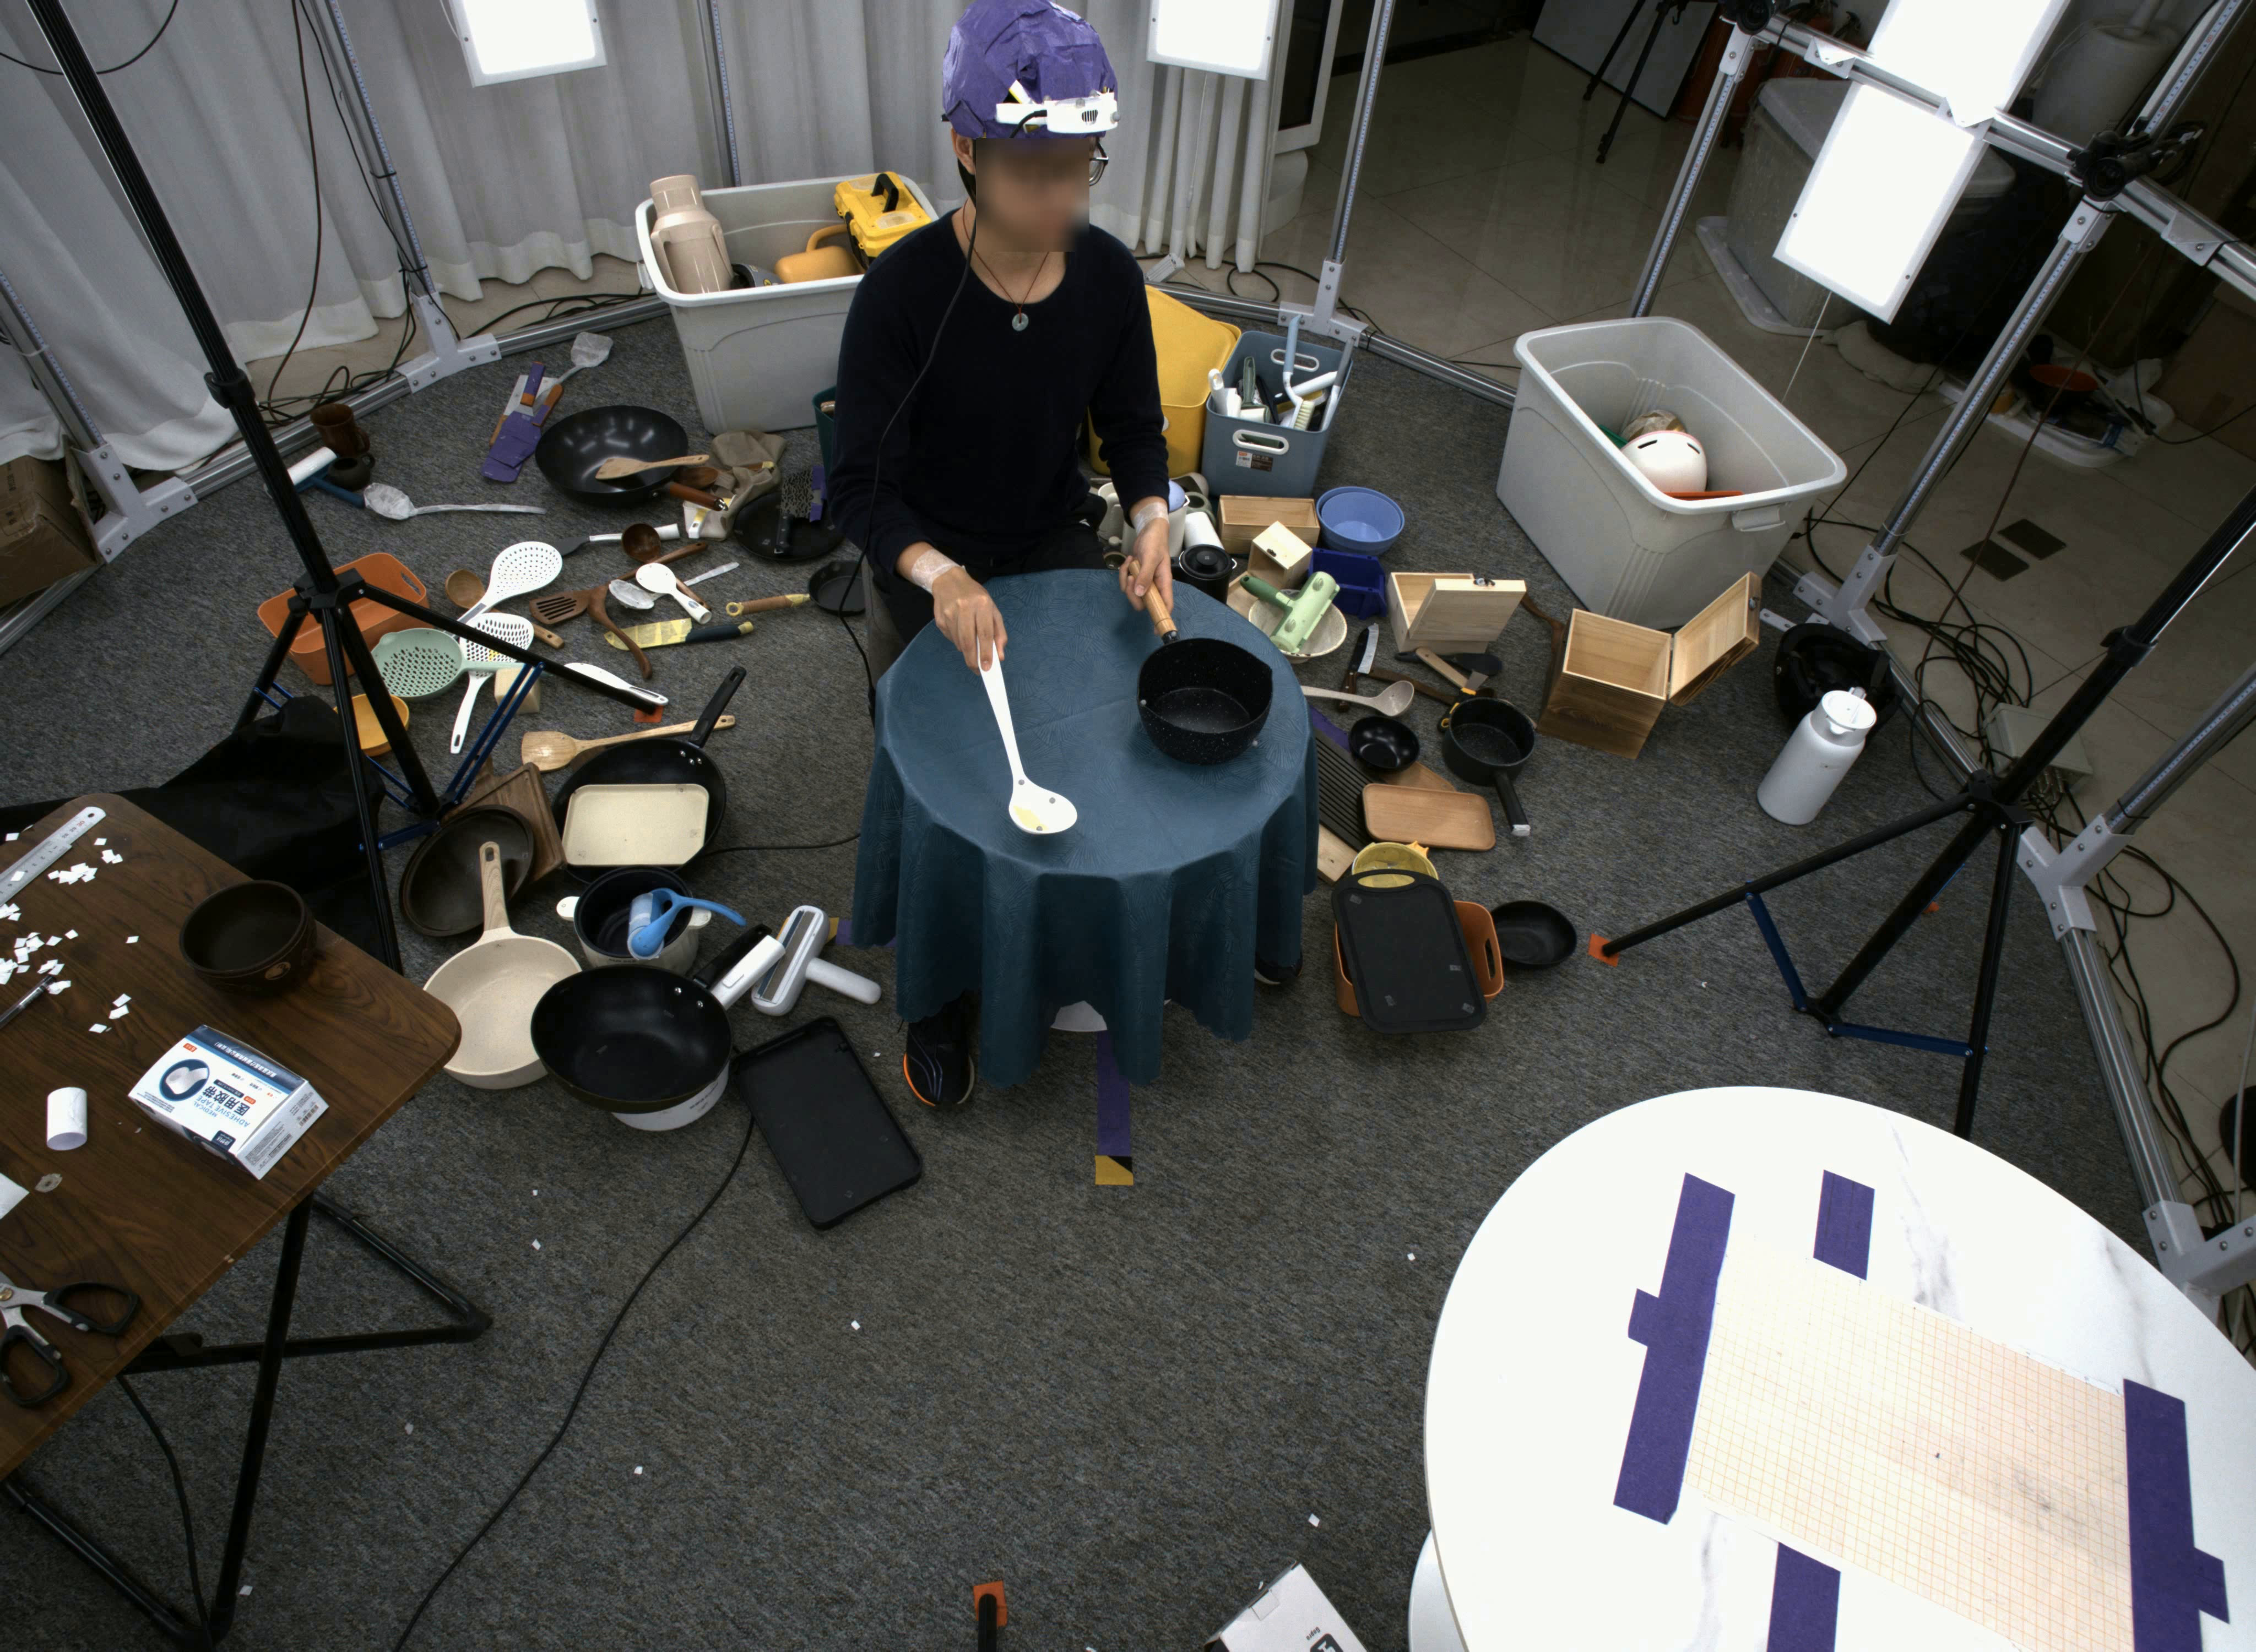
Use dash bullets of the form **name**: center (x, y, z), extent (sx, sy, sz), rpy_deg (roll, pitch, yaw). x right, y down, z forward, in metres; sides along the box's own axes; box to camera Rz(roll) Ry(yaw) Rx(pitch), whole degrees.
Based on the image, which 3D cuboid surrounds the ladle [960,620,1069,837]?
- **ladle**: center (-0.153, -0.124, 1.619), extent (0.090, 0.069, 0.294), rpy_deg (-13, 84, -25)

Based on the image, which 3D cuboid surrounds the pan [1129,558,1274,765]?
- **pan**: center (0.071, -0.231, 1.805), extent (0.207, 0.105, 0.350), rpy_deg (-17, 54, -16)
